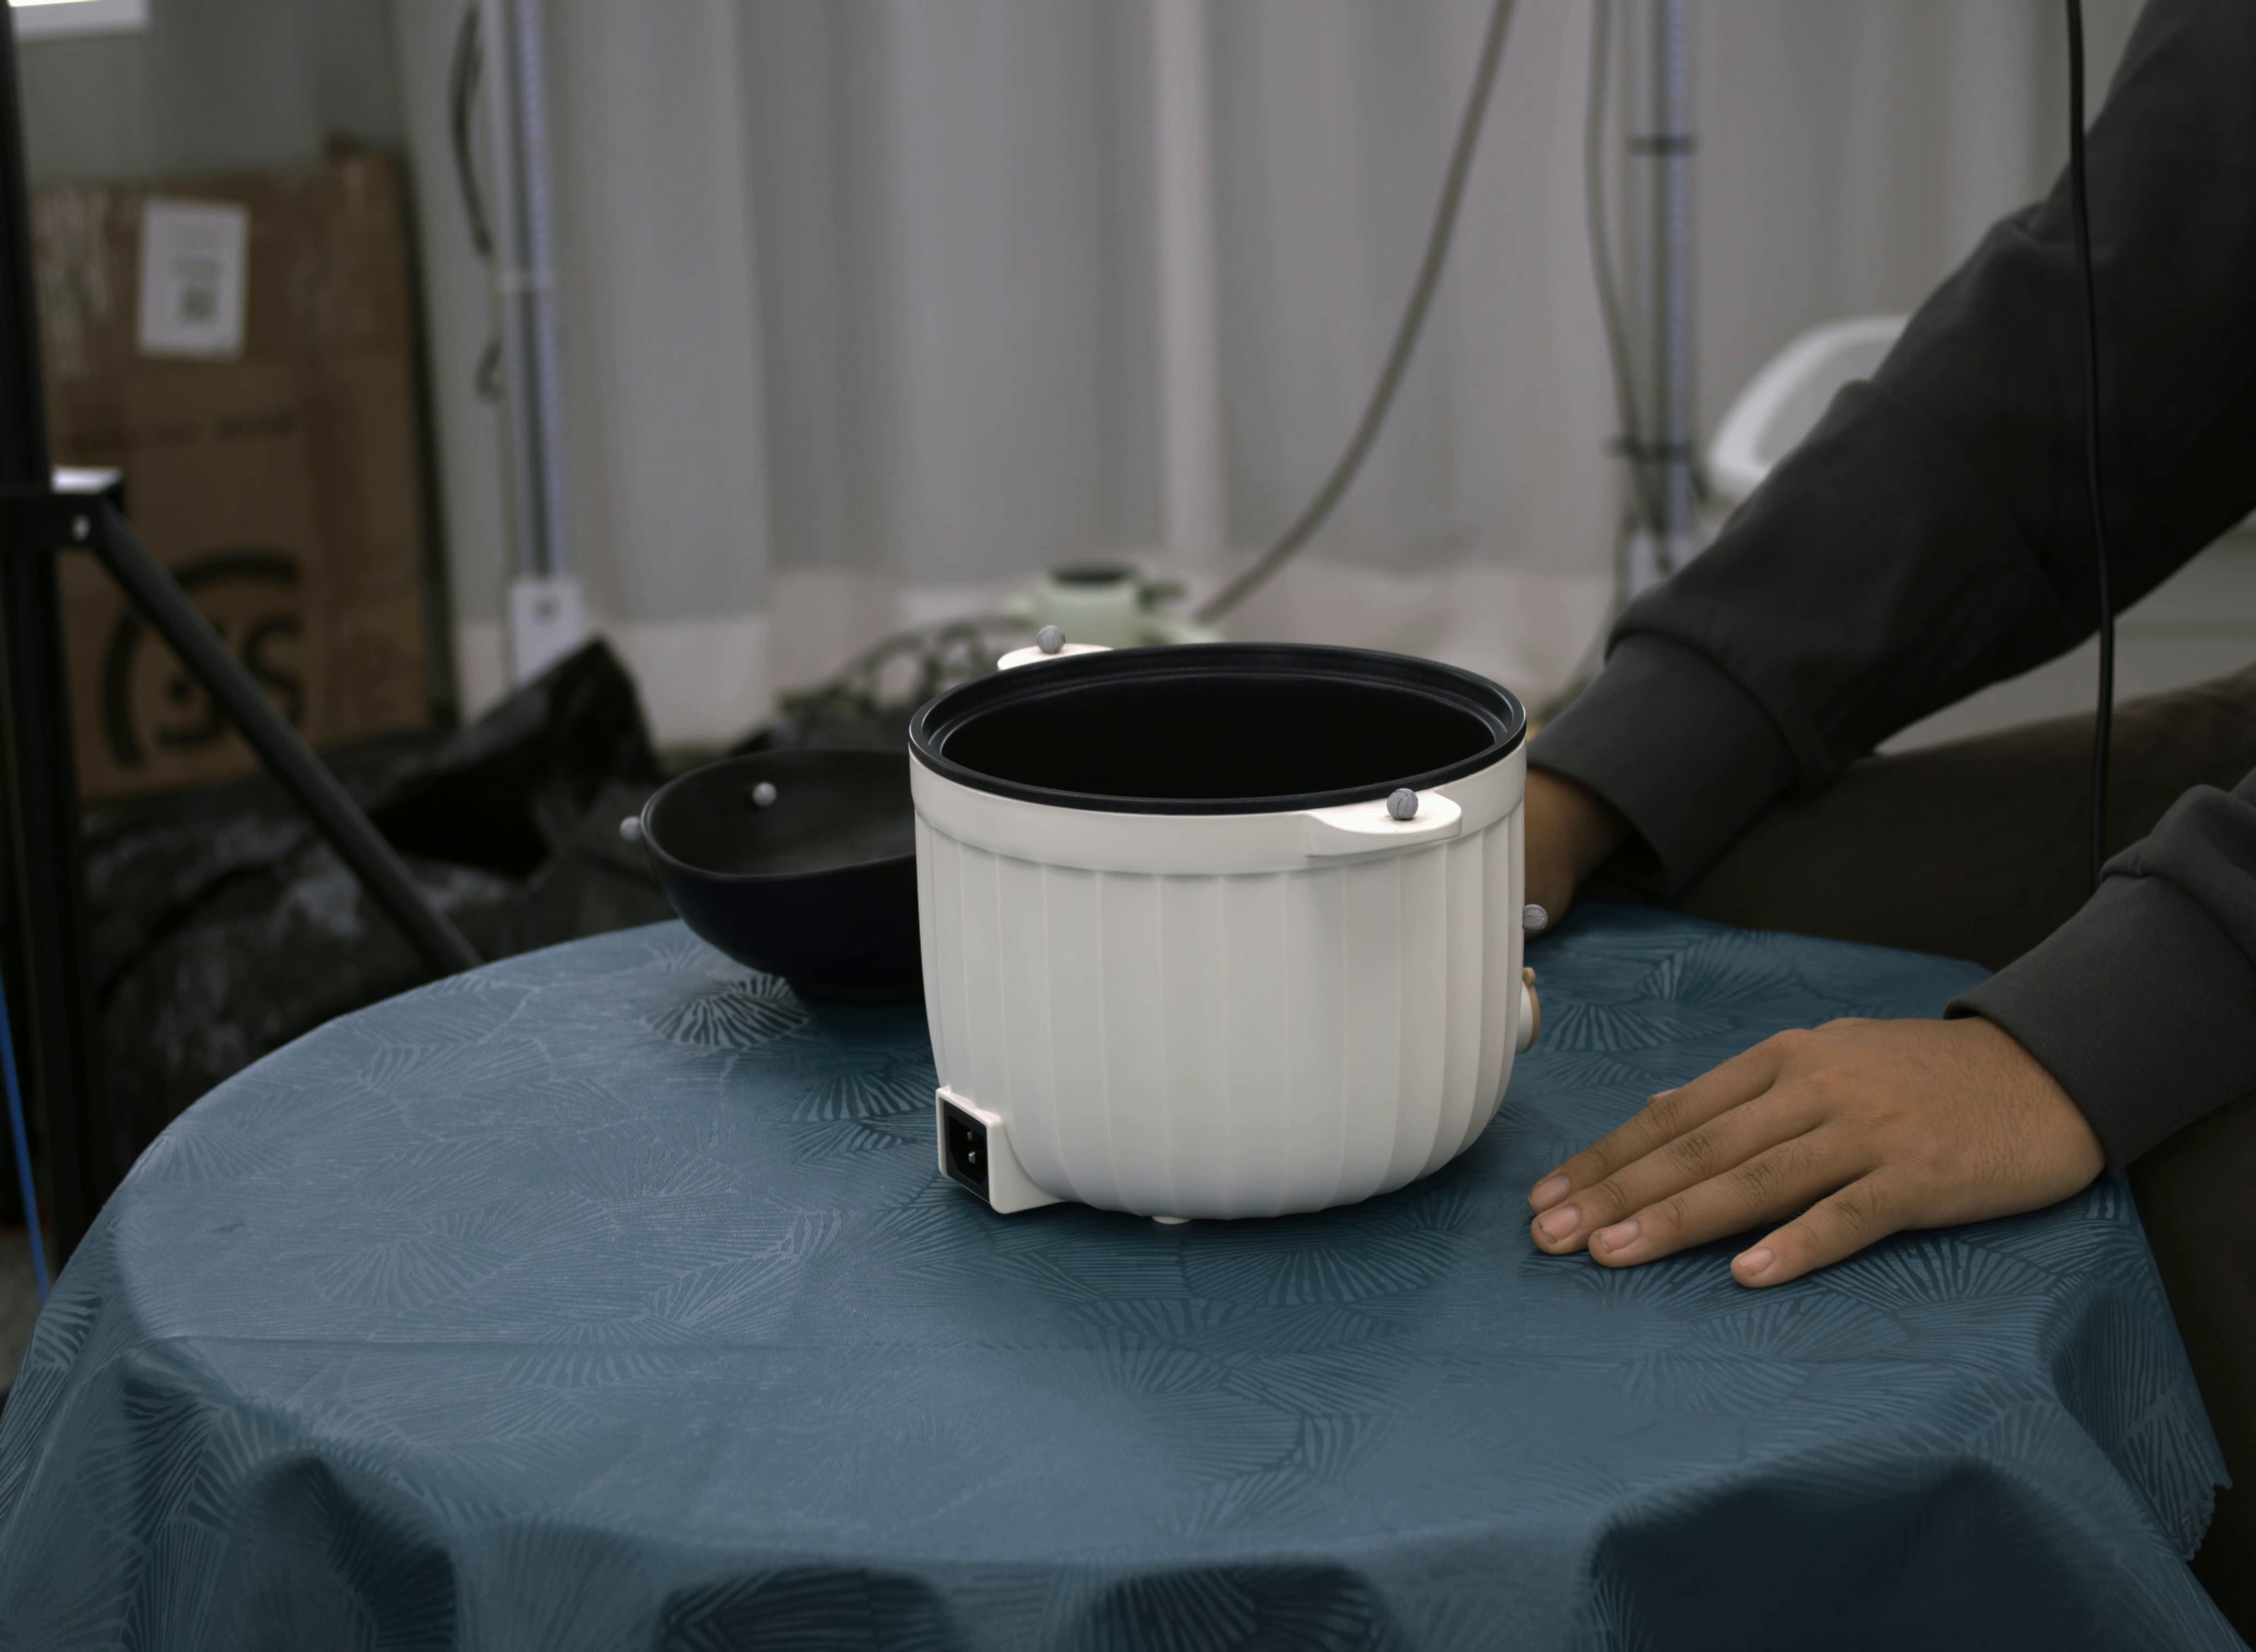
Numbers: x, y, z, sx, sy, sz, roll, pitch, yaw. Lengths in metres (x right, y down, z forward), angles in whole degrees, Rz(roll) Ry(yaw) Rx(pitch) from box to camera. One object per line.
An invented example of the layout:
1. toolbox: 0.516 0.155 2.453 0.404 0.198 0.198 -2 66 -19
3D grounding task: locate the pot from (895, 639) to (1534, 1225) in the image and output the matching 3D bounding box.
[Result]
1. pot: 0.031 0.031 1.571 0.187 0.142 0.245 -13 20 -25

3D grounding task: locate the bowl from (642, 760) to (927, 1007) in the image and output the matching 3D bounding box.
1. bowl: -0.082 0.020 1.762 0.140 0.067 0.166 11 19 39
